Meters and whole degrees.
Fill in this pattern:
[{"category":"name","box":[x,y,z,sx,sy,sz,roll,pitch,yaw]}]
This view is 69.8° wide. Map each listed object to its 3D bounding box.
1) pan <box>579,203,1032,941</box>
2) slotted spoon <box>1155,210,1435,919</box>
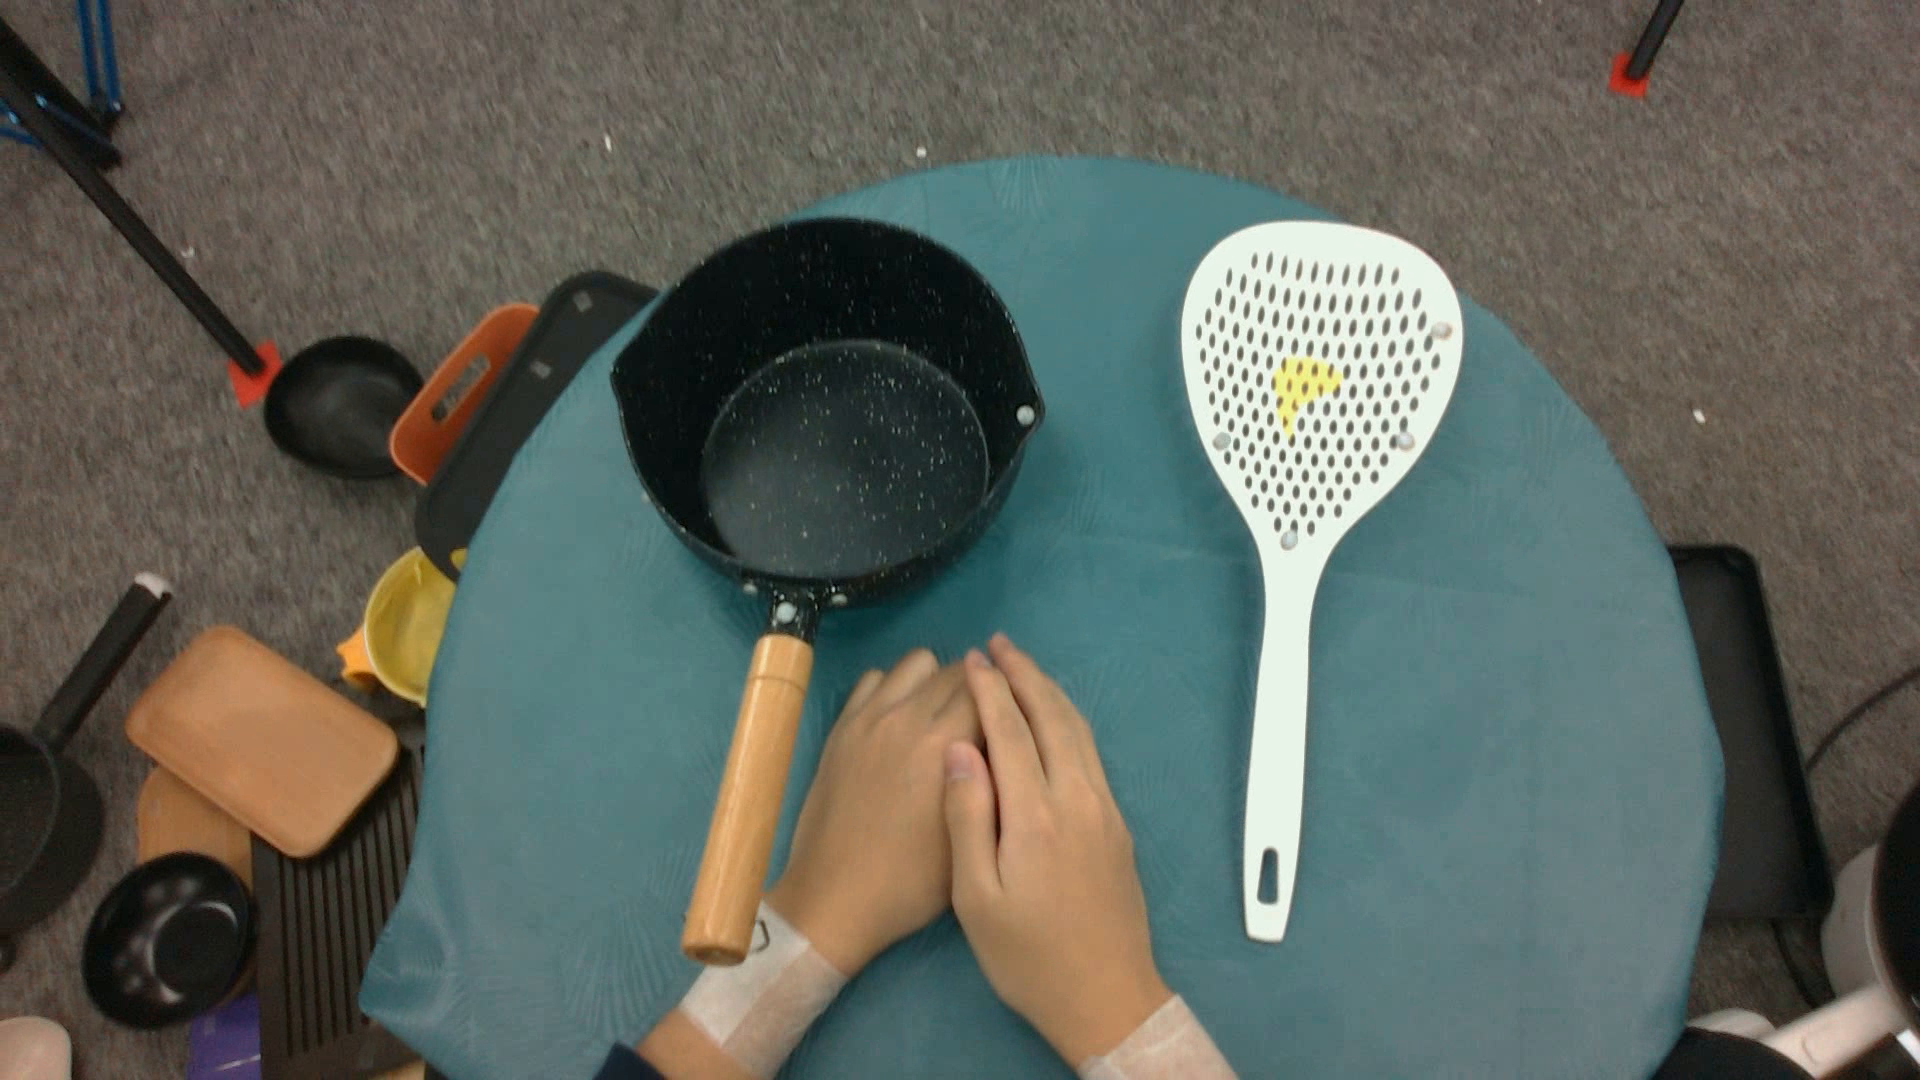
[{"category":"pan","box":[-0.077,0.009,0.616,0.207,0.108,0.344,5,66,2]},{"category":"slotted spoon","box":[0.150,-0.002,0.652,0.137,0.050,0.349,7,65,5]}]
